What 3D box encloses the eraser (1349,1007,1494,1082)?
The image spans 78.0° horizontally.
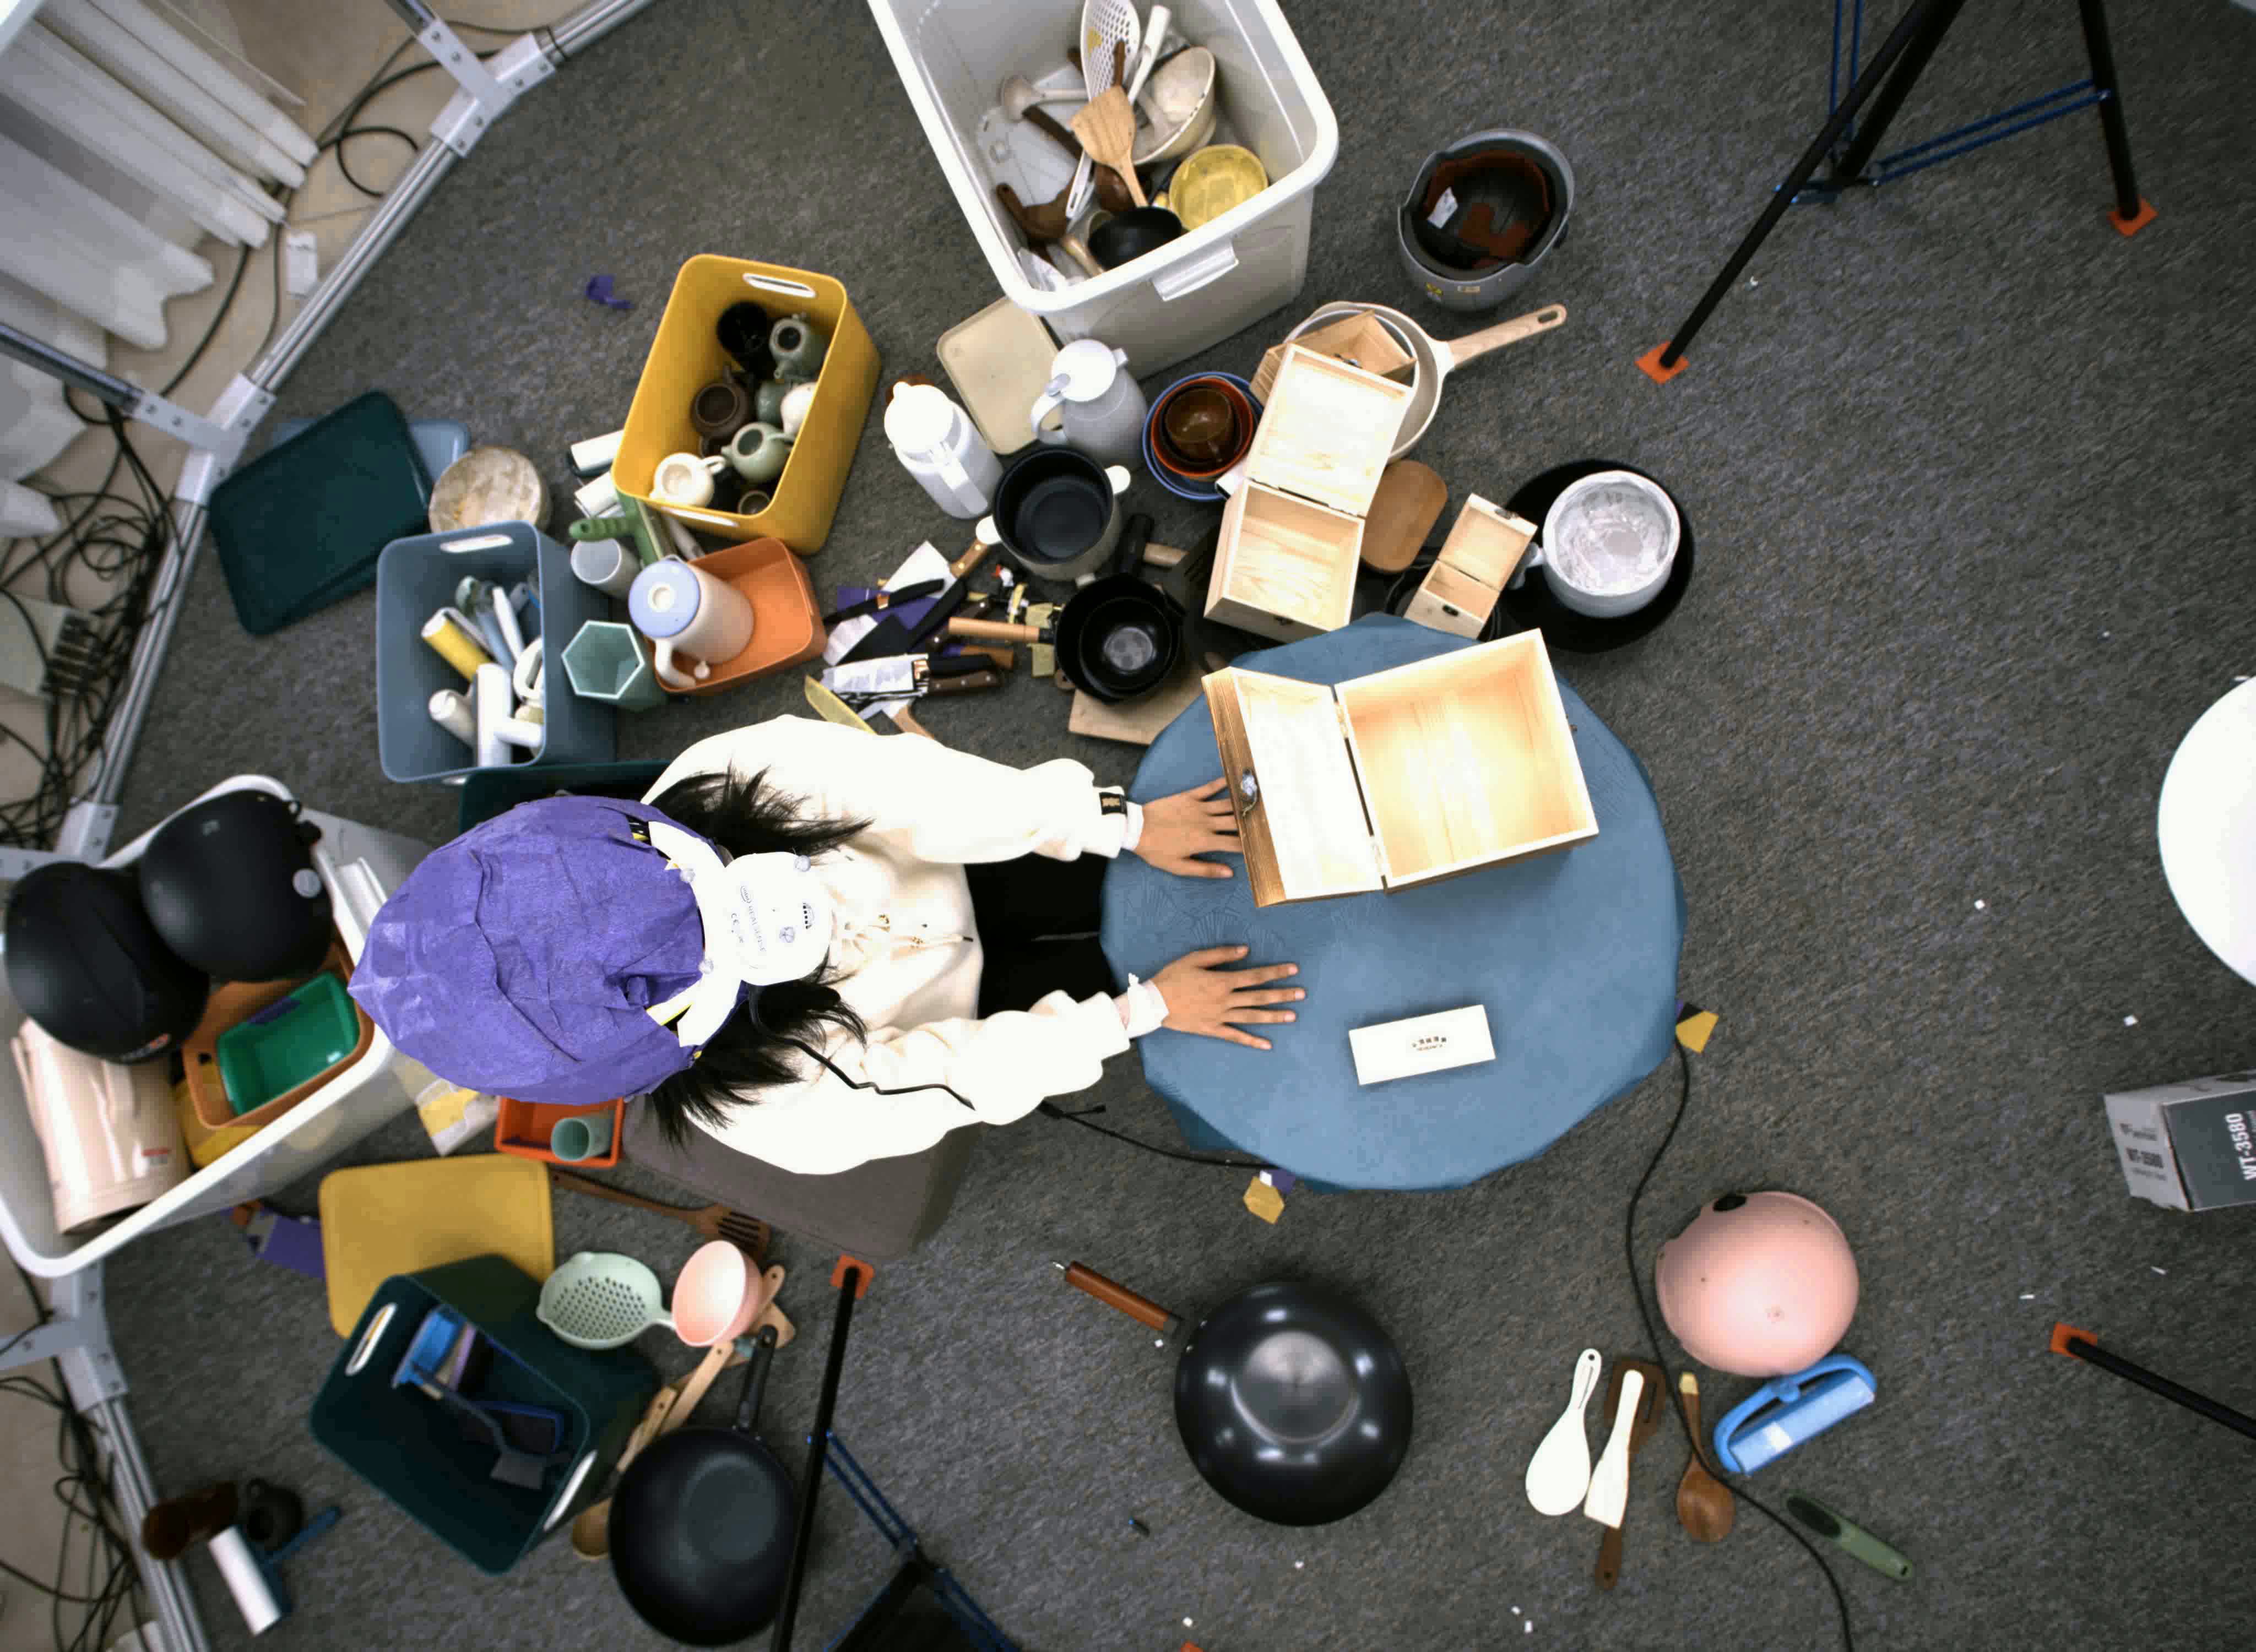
[{"bbox_3d":[0.303,0.224,1.431,0.140,0.029,0.057,-11,87,11],"label":"eraser"}]

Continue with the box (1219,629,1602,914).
[{"bbox_3d":[0.265,-0.051,1.284,0.324,0.375,0.207,-16,83,8],"label":"box"}]
